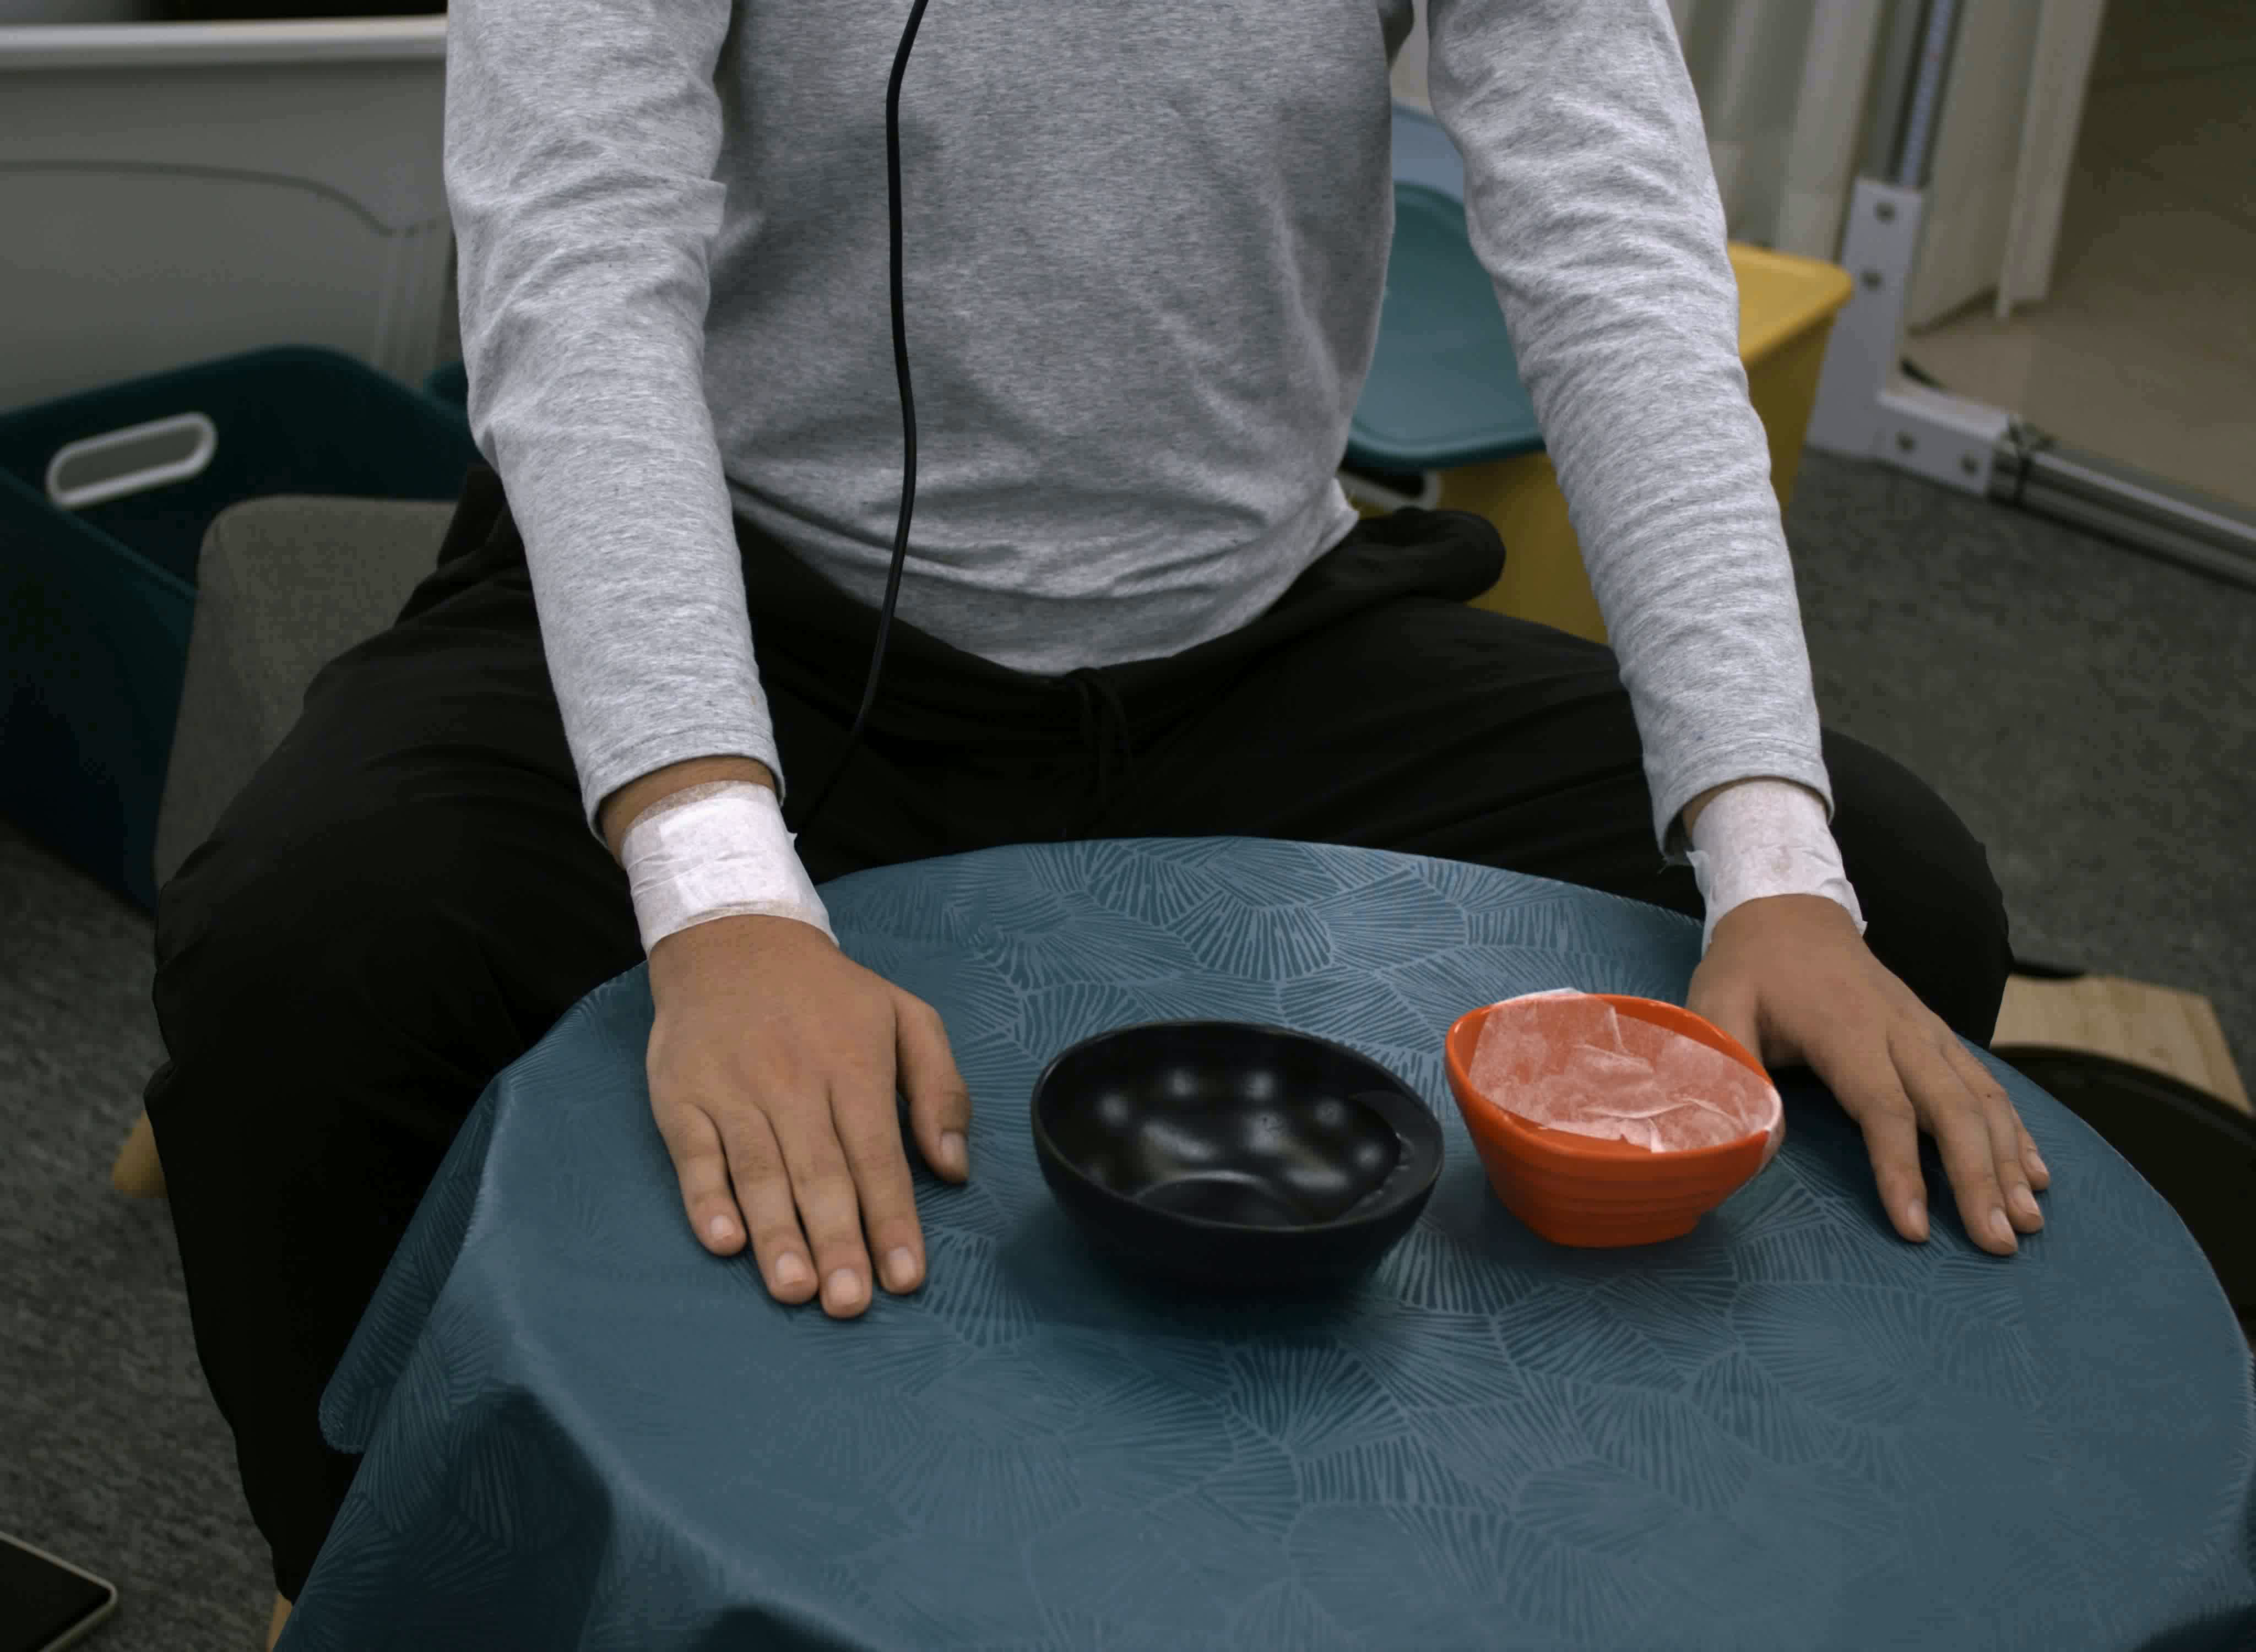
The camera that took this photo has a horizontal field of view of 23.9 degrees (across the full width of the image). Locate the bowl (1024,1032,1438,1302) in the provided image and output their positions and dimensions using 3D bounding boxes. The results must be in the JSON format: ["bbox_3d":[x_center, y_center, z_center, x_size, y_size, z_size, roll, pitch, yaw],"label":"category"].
[{"bbox_3d":[0.032,0.121,1.771,0.139,0.049,0.141,6,23,-3],"label":"bowl"}]

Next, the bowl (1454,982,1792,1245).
[{"bbox_3d":[0.166,0.103,1.822,0.118,0.051,0.120,5,30,-3],"label":"bowl"}]
